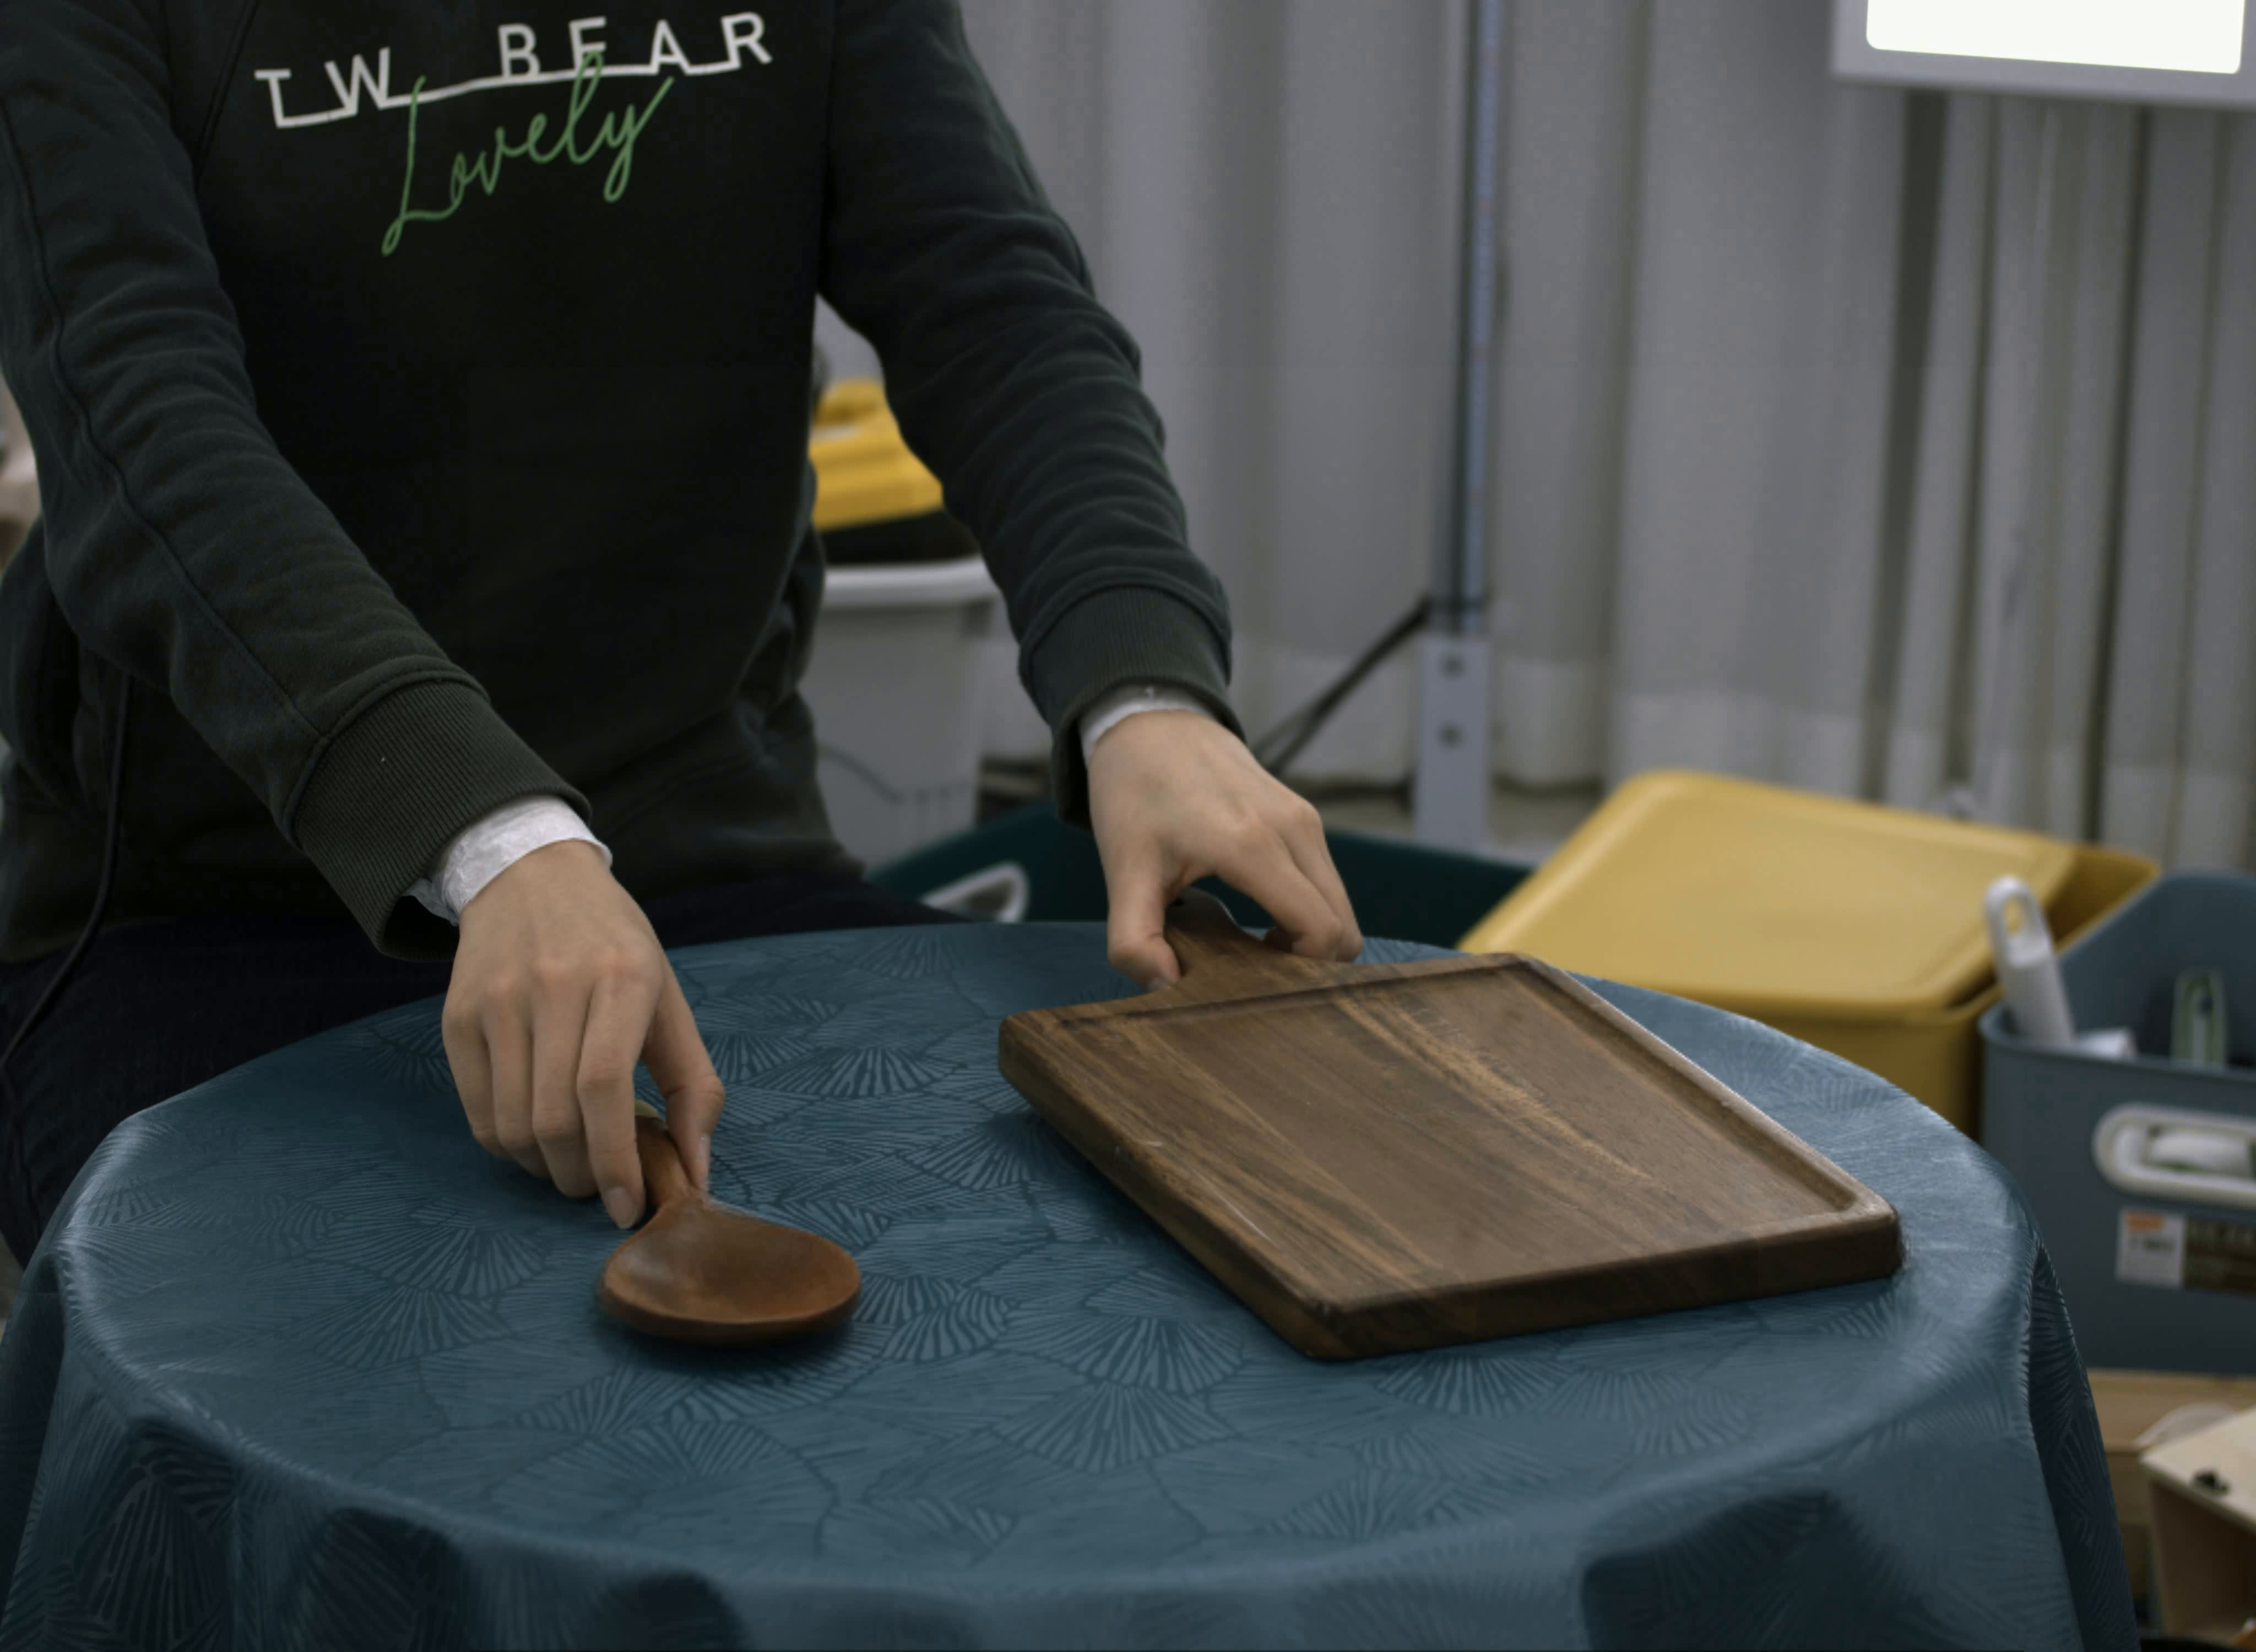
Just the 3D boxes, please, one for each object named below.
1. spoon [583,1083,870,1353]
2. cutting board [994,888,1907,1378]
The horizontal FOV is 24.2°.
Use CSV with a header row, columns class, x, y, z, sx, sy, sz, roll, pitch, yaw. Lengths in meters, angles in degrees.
class,x,y,z,sx,sy,sz,roll,pitch,yaw
spoon,-0.131,0.117,1.570,0.075,0.017,0.213,-6,18,-16
cutting board,0.075,0.084,1.668,0.201,0.023,0.348,-7,21,-22
